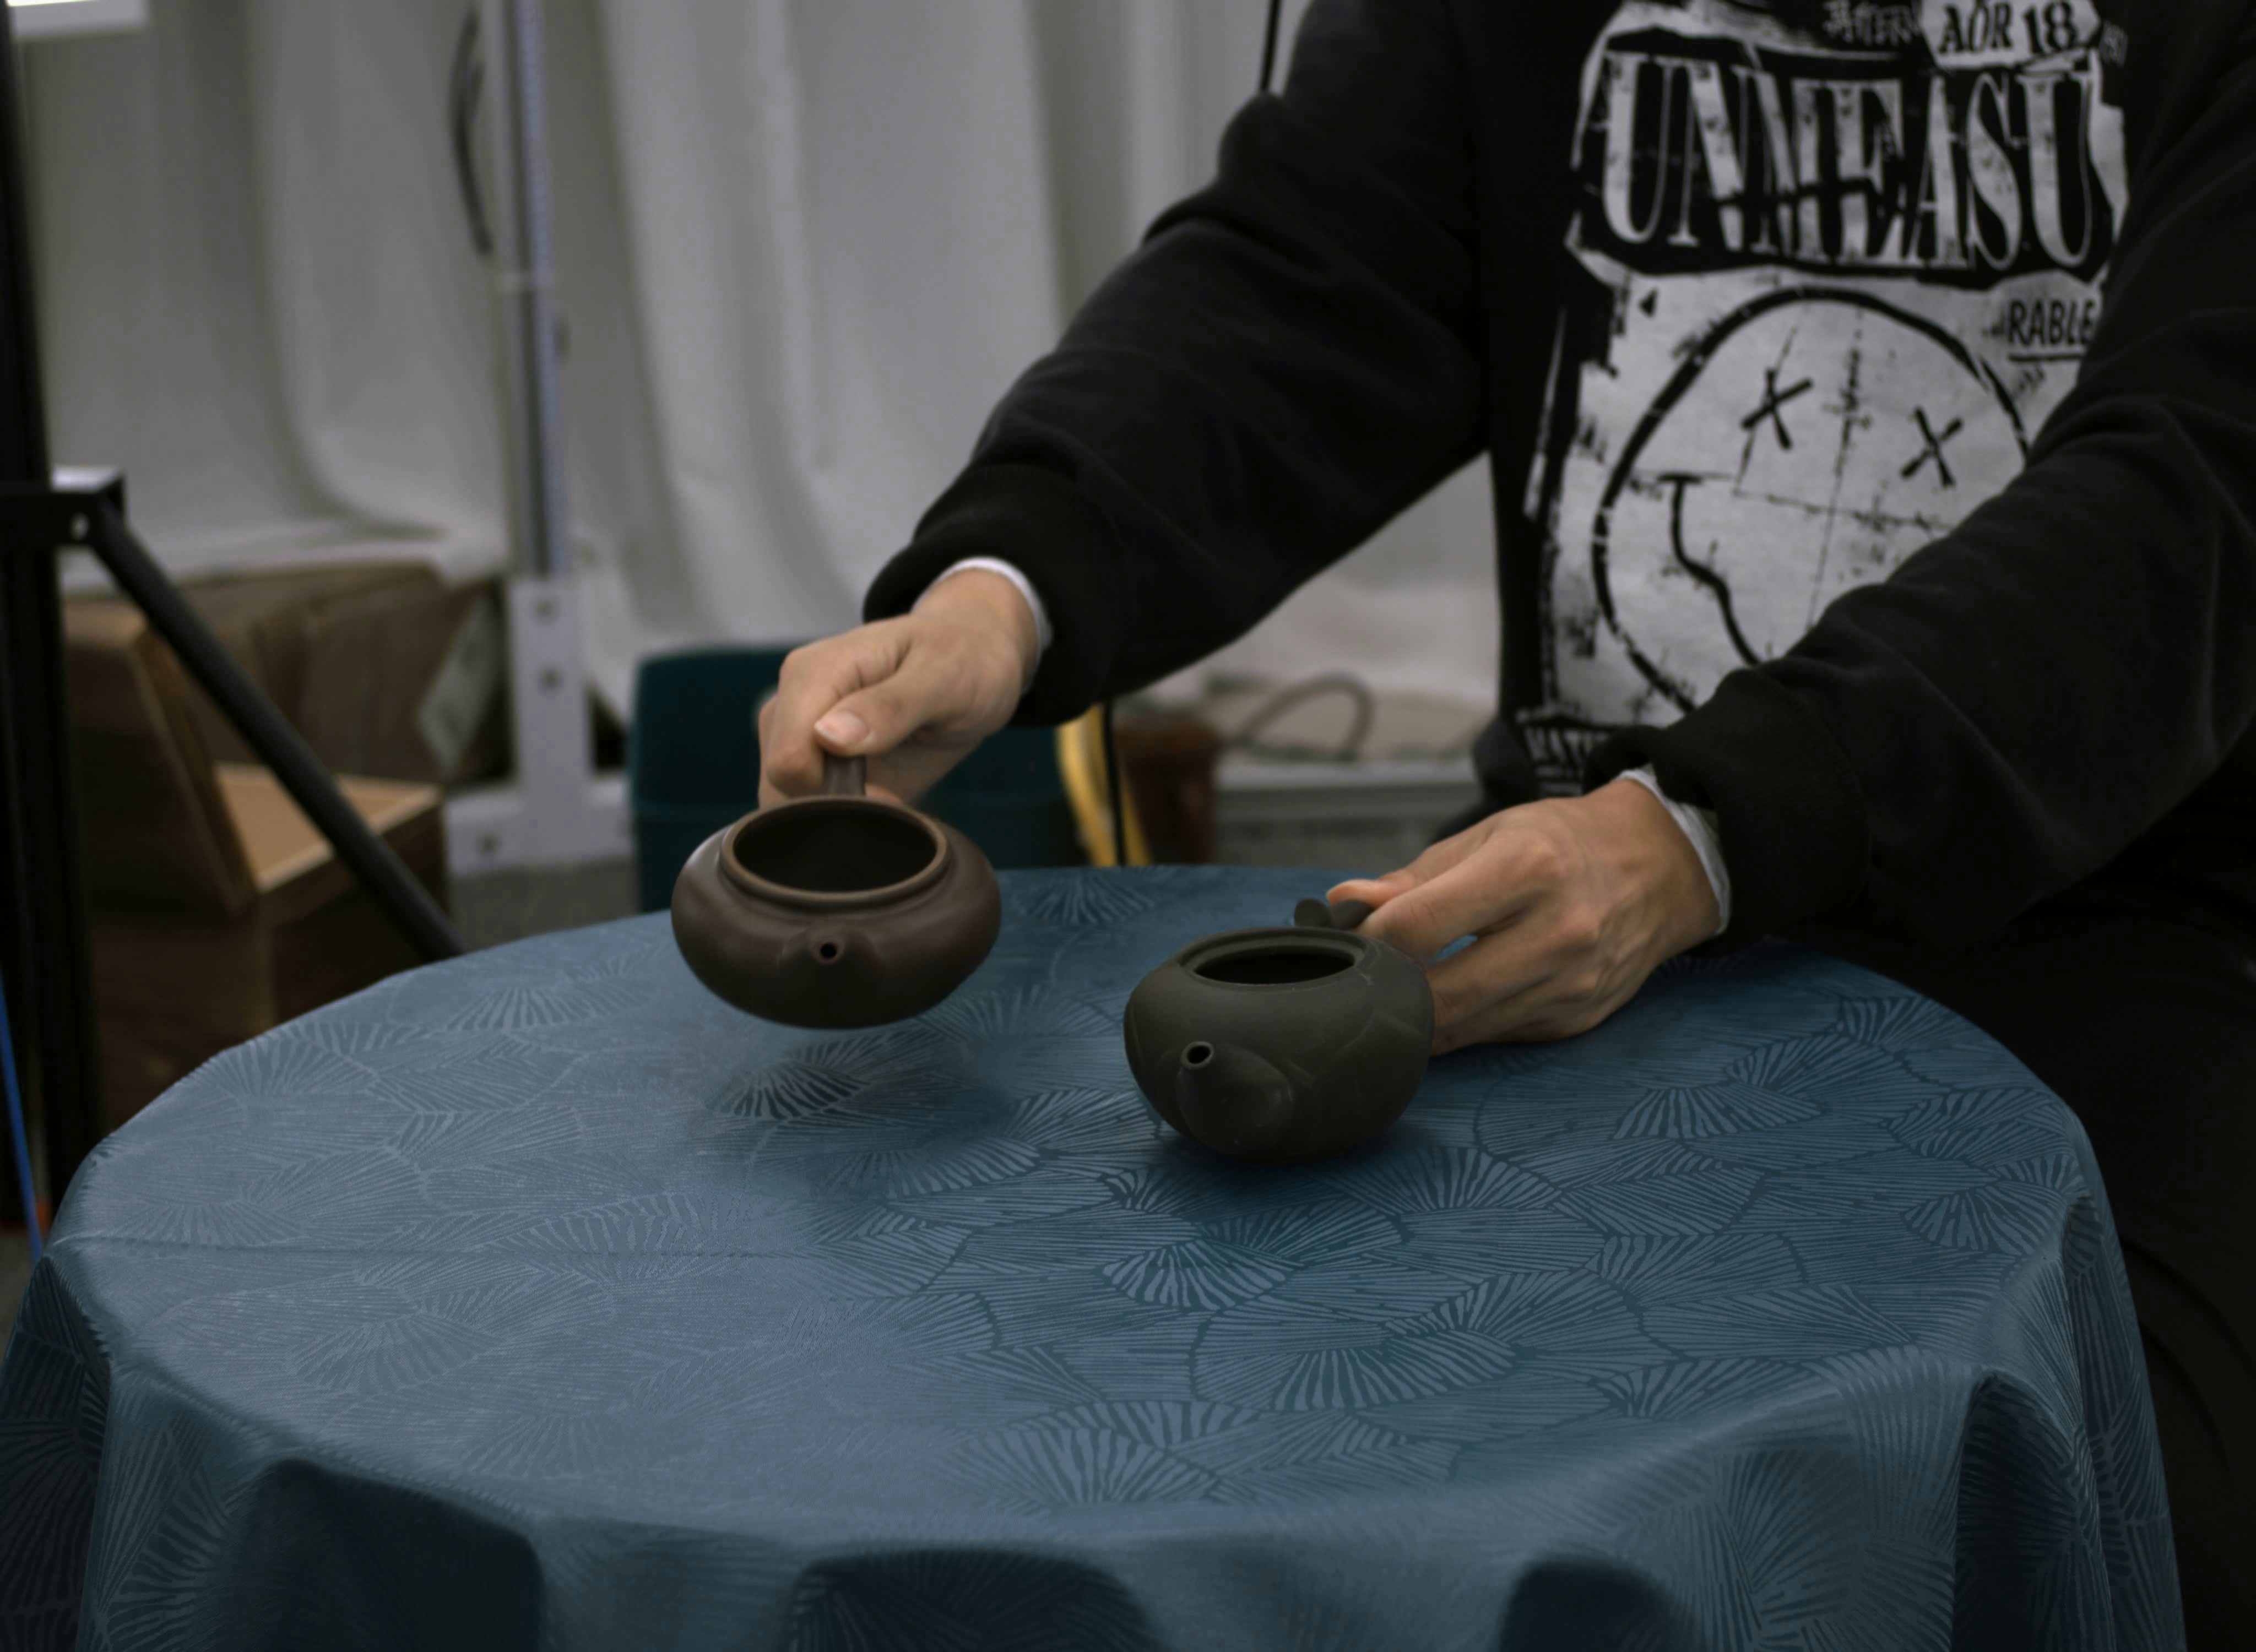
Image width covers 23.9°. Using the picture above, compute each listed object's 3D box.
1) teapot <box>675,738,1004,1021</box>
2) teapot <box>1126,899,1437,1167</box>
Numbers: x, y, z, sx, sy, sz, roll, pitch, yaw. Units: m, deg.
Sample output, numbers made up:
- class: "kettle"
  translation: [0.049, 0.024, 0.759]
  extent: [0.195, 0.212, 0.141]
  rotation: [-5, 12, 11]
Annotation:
- class: "teapot"
  translation: [-0.090, 0.020, 1.654]
  extent: [0.101, 0.054, 0.155]
  rotation: [0, 28, -6]
- class: "teapot"
  translation: [0.047, 0.063, 1.587]
  extent: [0.093, 0.064, 0.152]
  rotation: [6, 20, 22]
